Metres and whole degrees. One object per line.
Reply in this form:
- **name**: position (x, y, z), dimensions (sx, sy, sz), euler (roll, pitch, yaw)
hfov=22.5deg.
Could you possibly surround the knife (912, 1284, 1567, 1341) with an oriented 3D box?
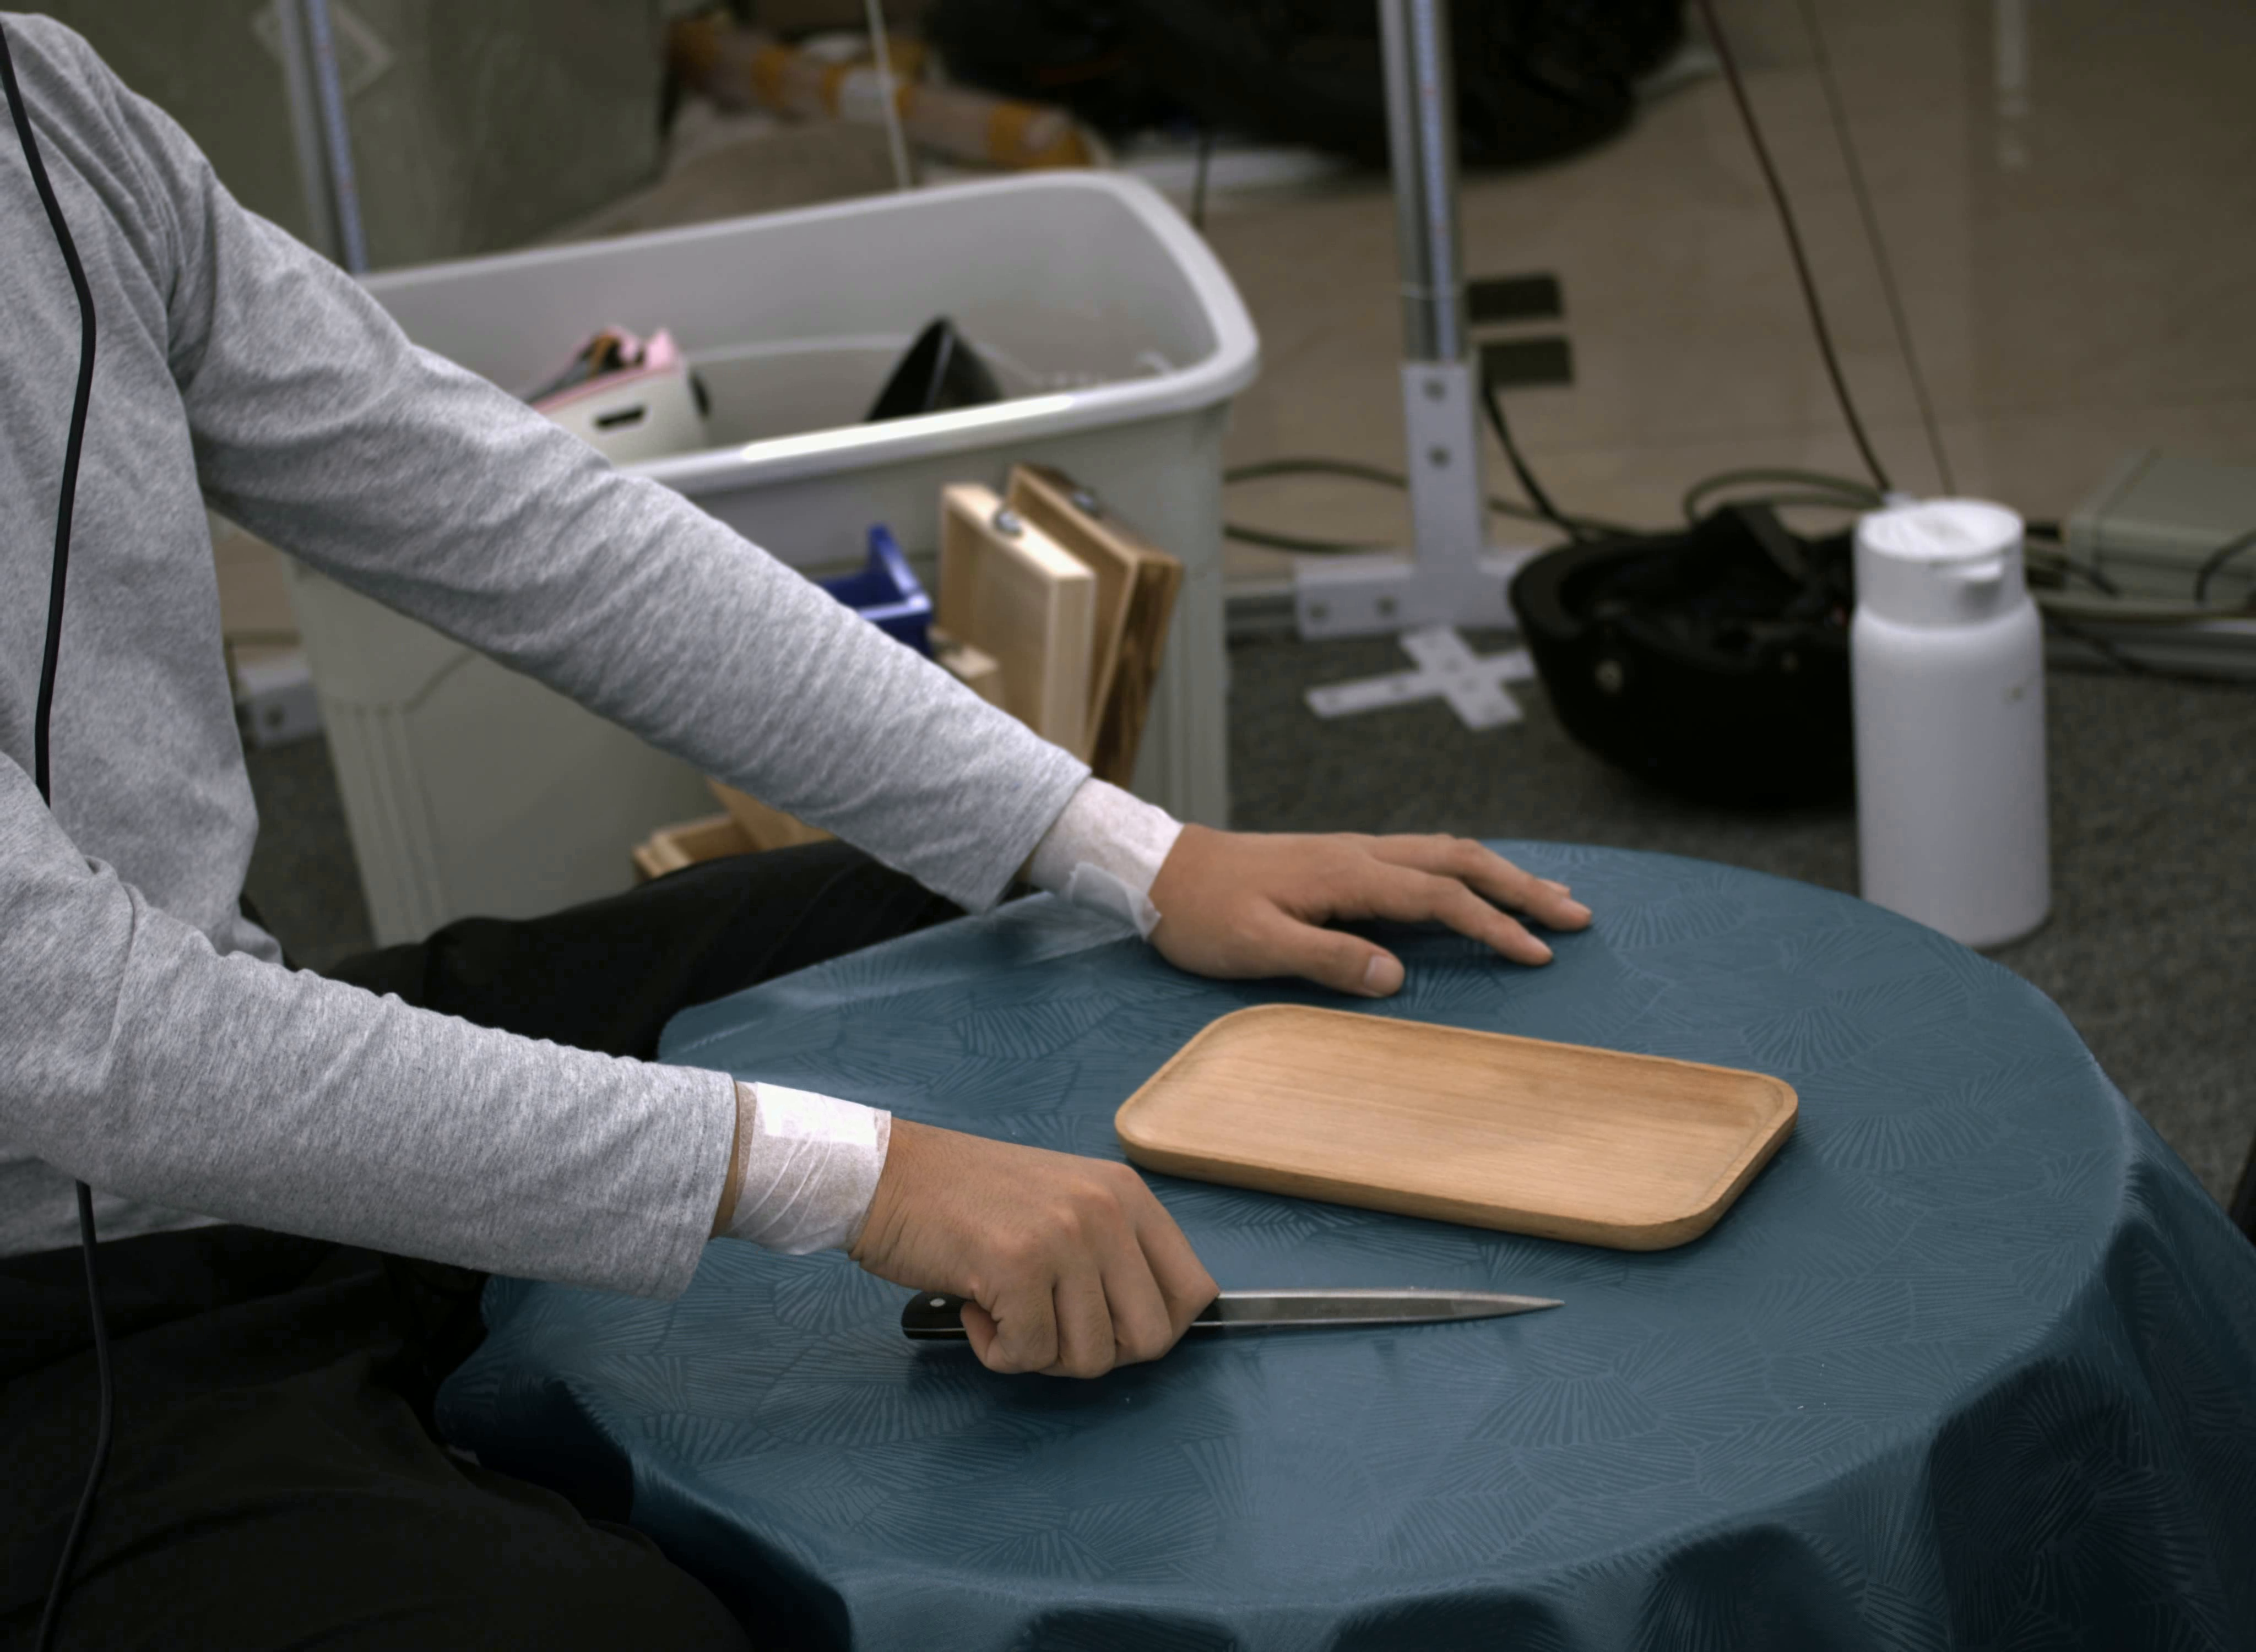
- **knife**: position (0.040, 0.175, 2.050), dimensions (0.238, 0.016, 0.024), euler (-1, 26, 4)

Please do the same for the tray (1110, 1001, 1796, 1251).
- **tray**: position (0.122, 0.113, 2.158), dimensions (0.249, 0.023, 0.129), euler (7, 25, 30)
